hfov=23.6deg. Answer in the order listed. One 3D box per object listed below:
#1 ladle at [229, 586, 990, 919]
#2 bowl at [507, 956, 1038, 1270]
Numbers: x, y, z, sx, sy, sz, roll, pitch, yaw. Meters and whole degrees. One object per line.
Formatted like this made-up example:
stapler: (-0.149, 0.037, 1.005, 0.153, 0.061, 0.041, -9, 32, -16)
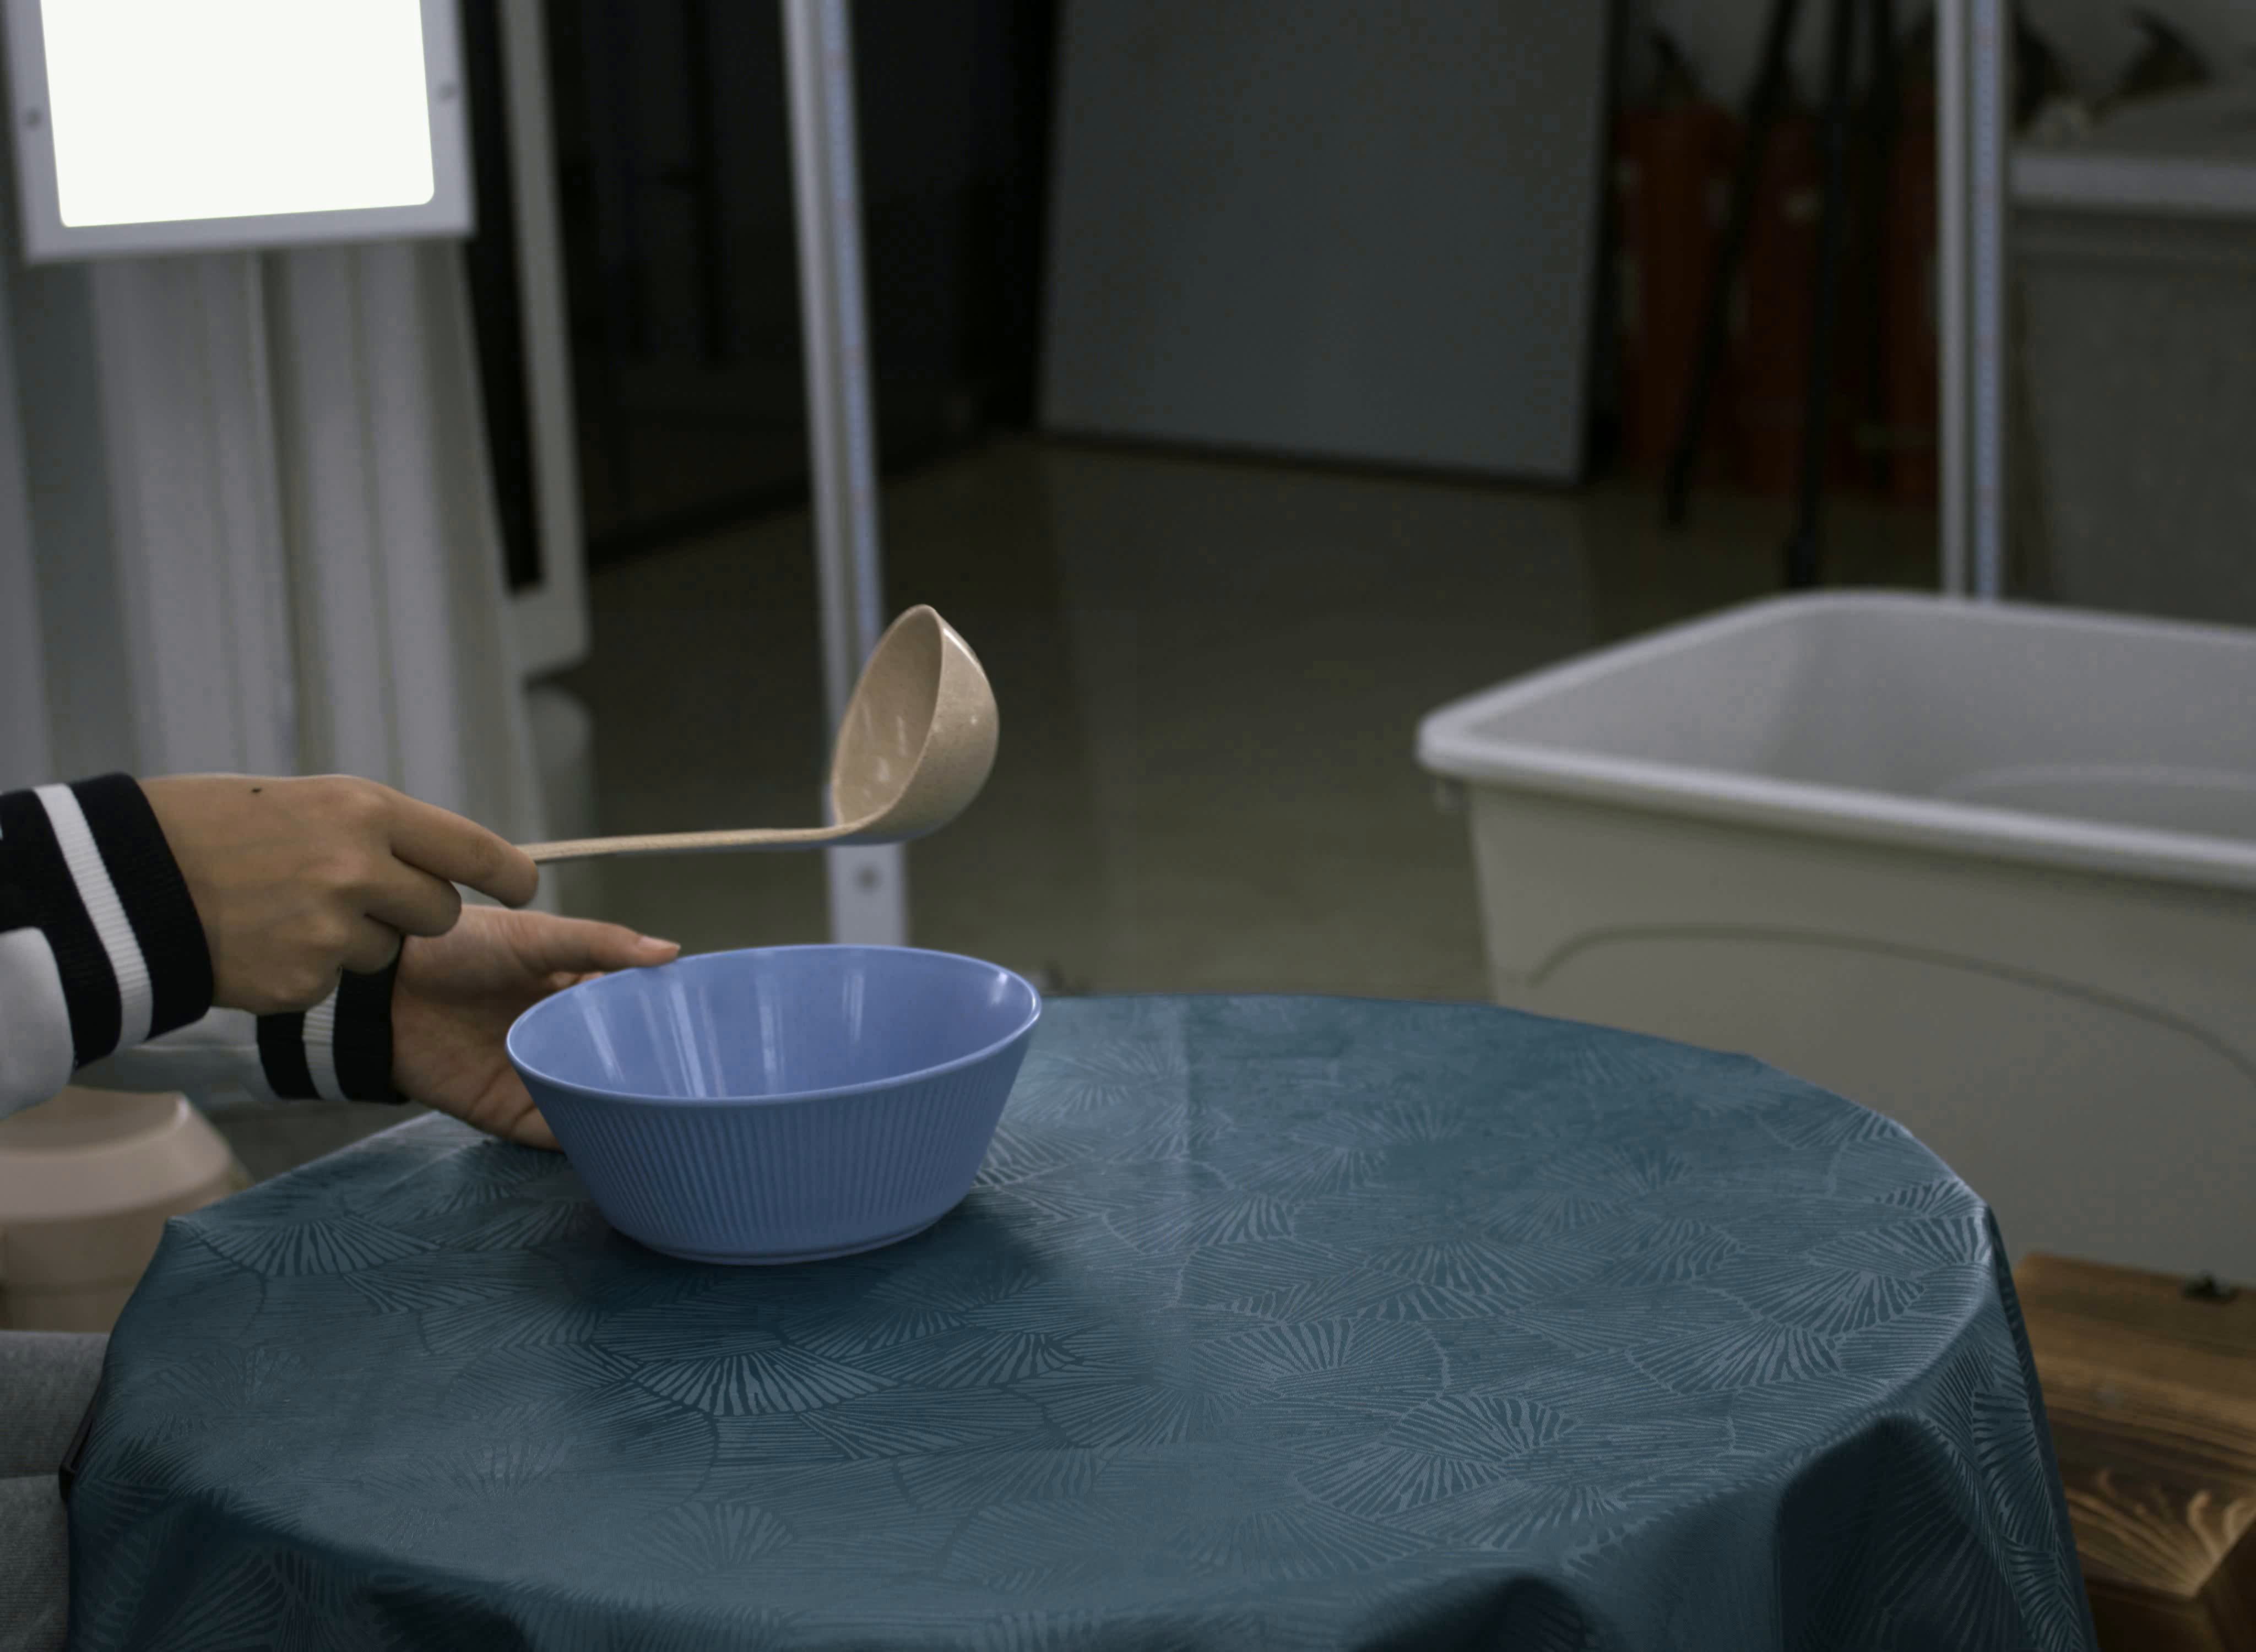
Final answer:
ladle: (-0.156, -0.024, 1.605, 0.248, 0.074, 0.073, -8, -6, -32)
bowl: (-0.113, 0.096, 1.761, 0.174, 0.071, 0.176, -4, 13, 0)
